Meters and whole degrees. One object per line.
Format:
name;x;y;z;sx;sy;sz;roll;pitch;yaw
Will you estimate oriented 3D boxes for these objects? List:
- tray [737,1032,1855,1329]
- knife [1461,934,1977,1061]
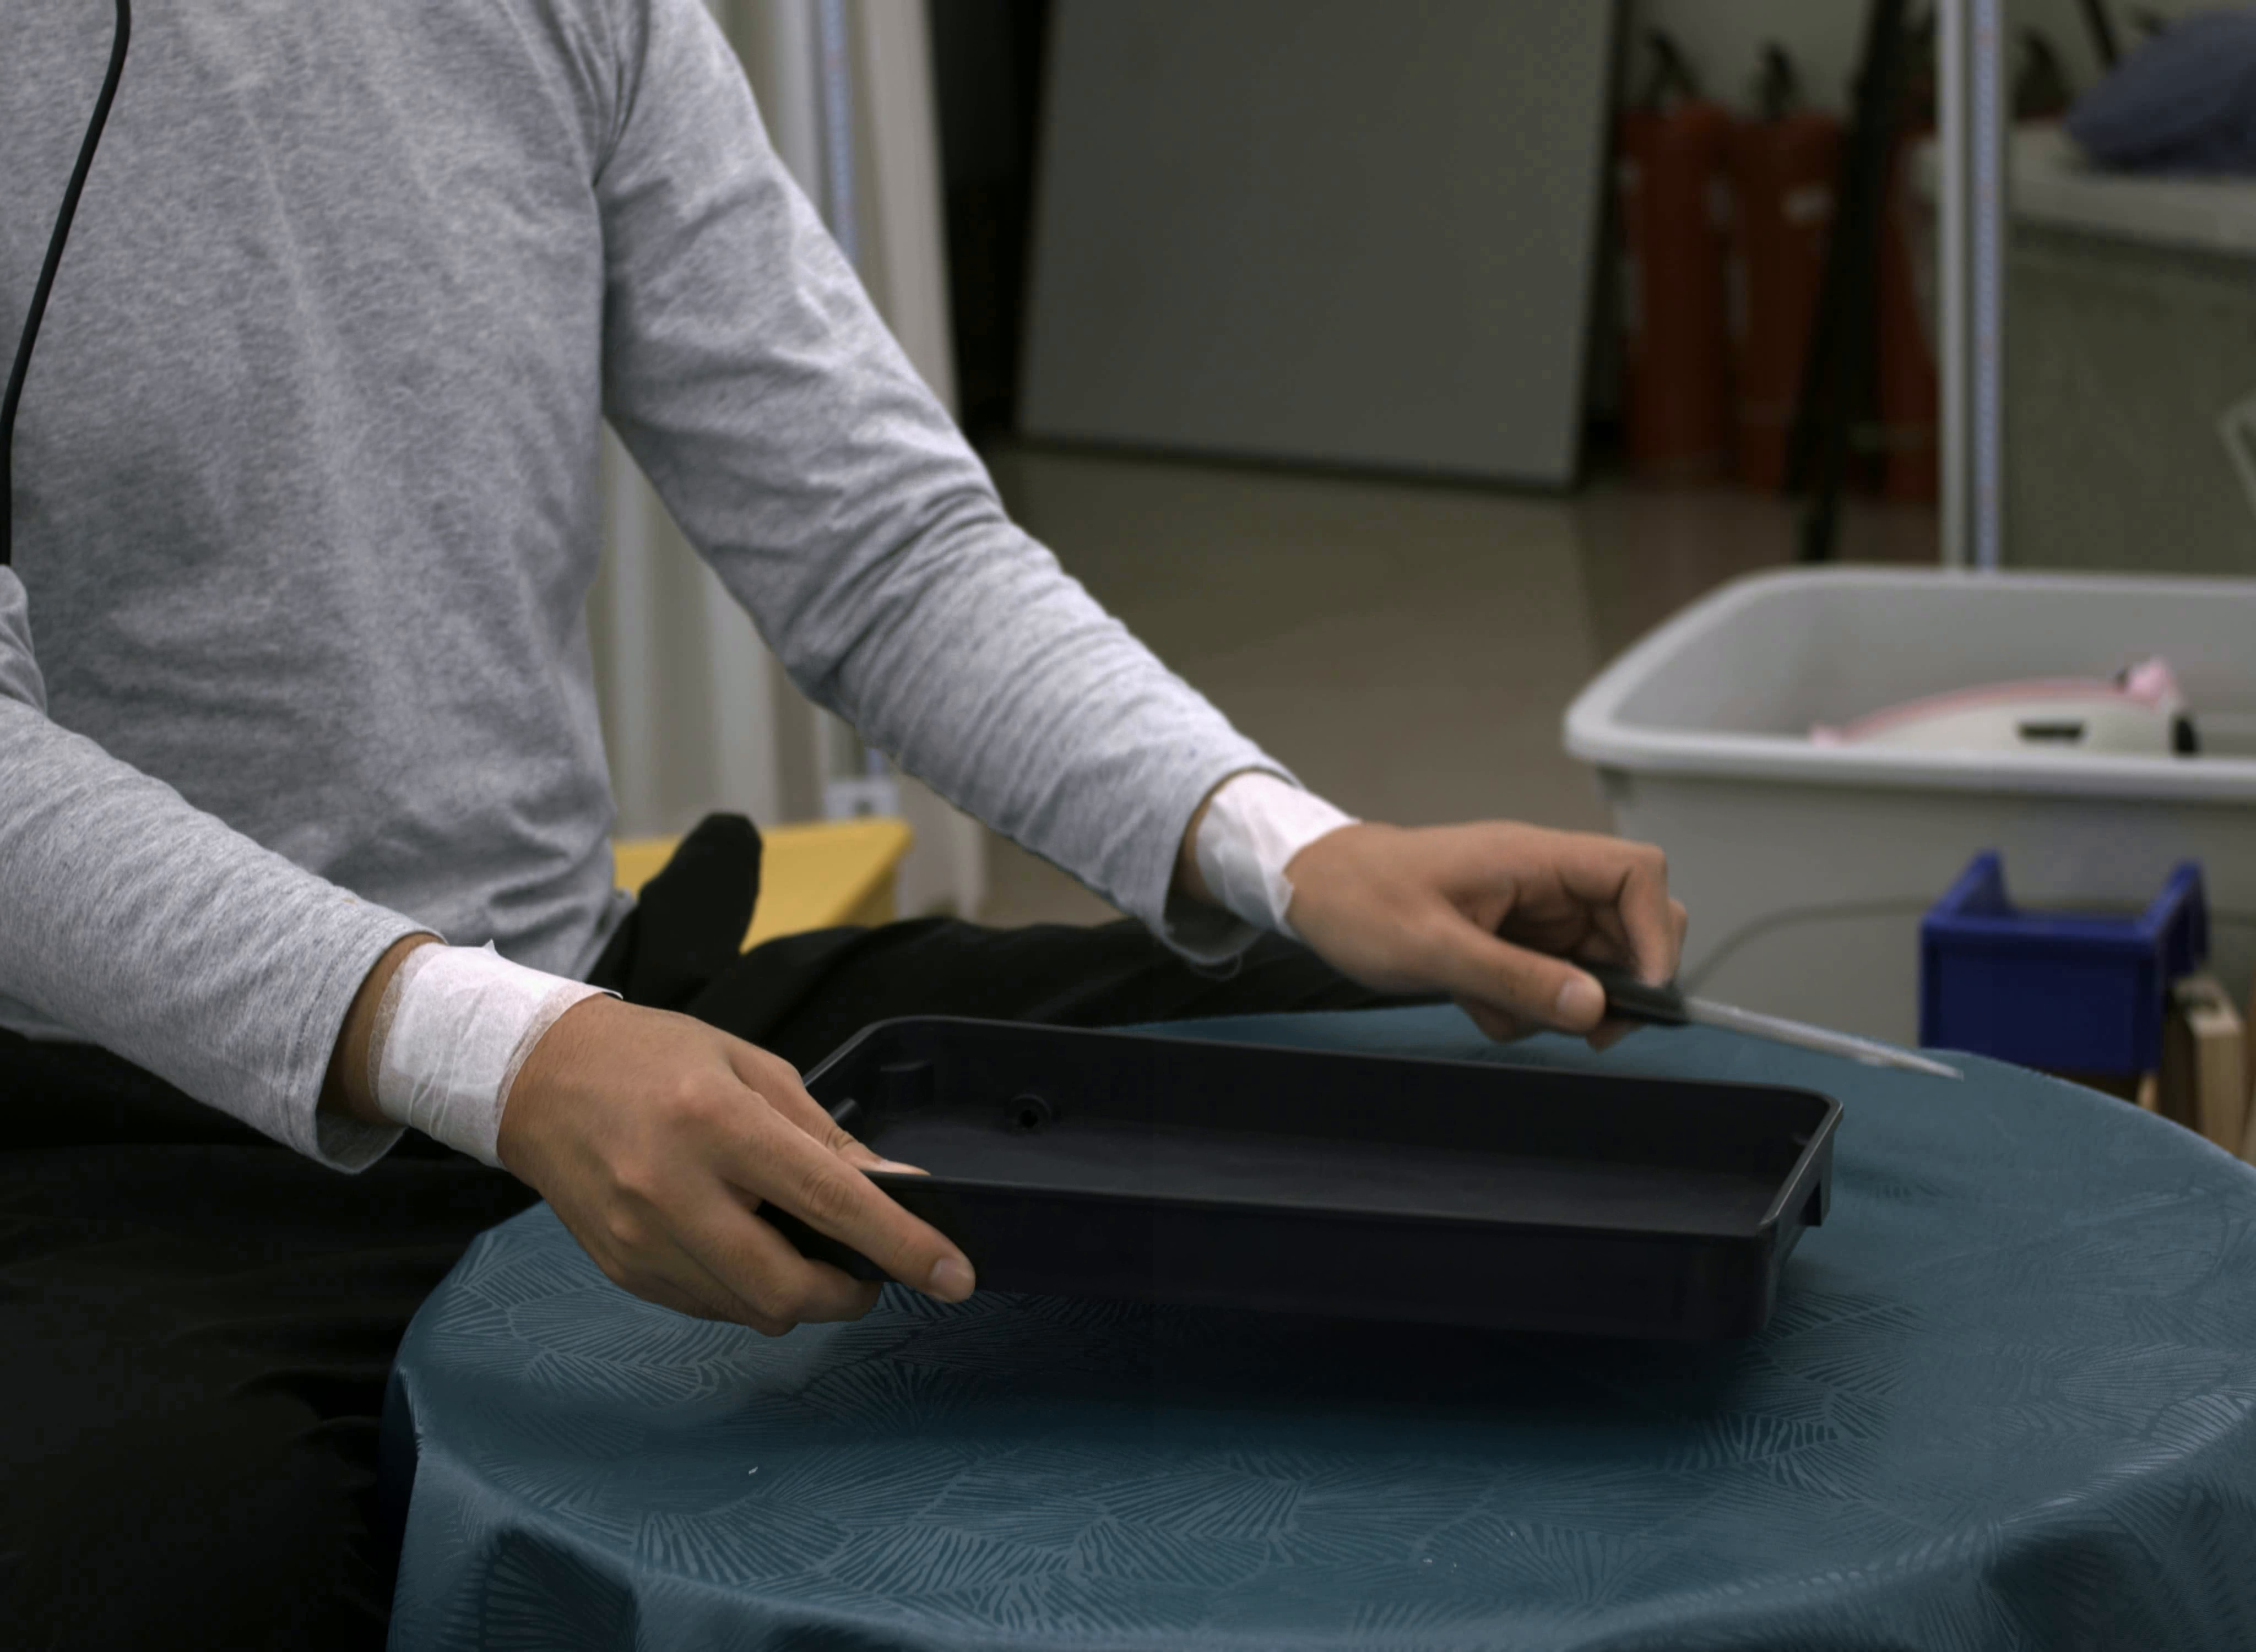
tray;0.054;0.104;1.620;0.316;0.037;0.183;2;10;15
knife;0.192;0.060;1.796;0.024;0.016;0.240;-11;14;-37
